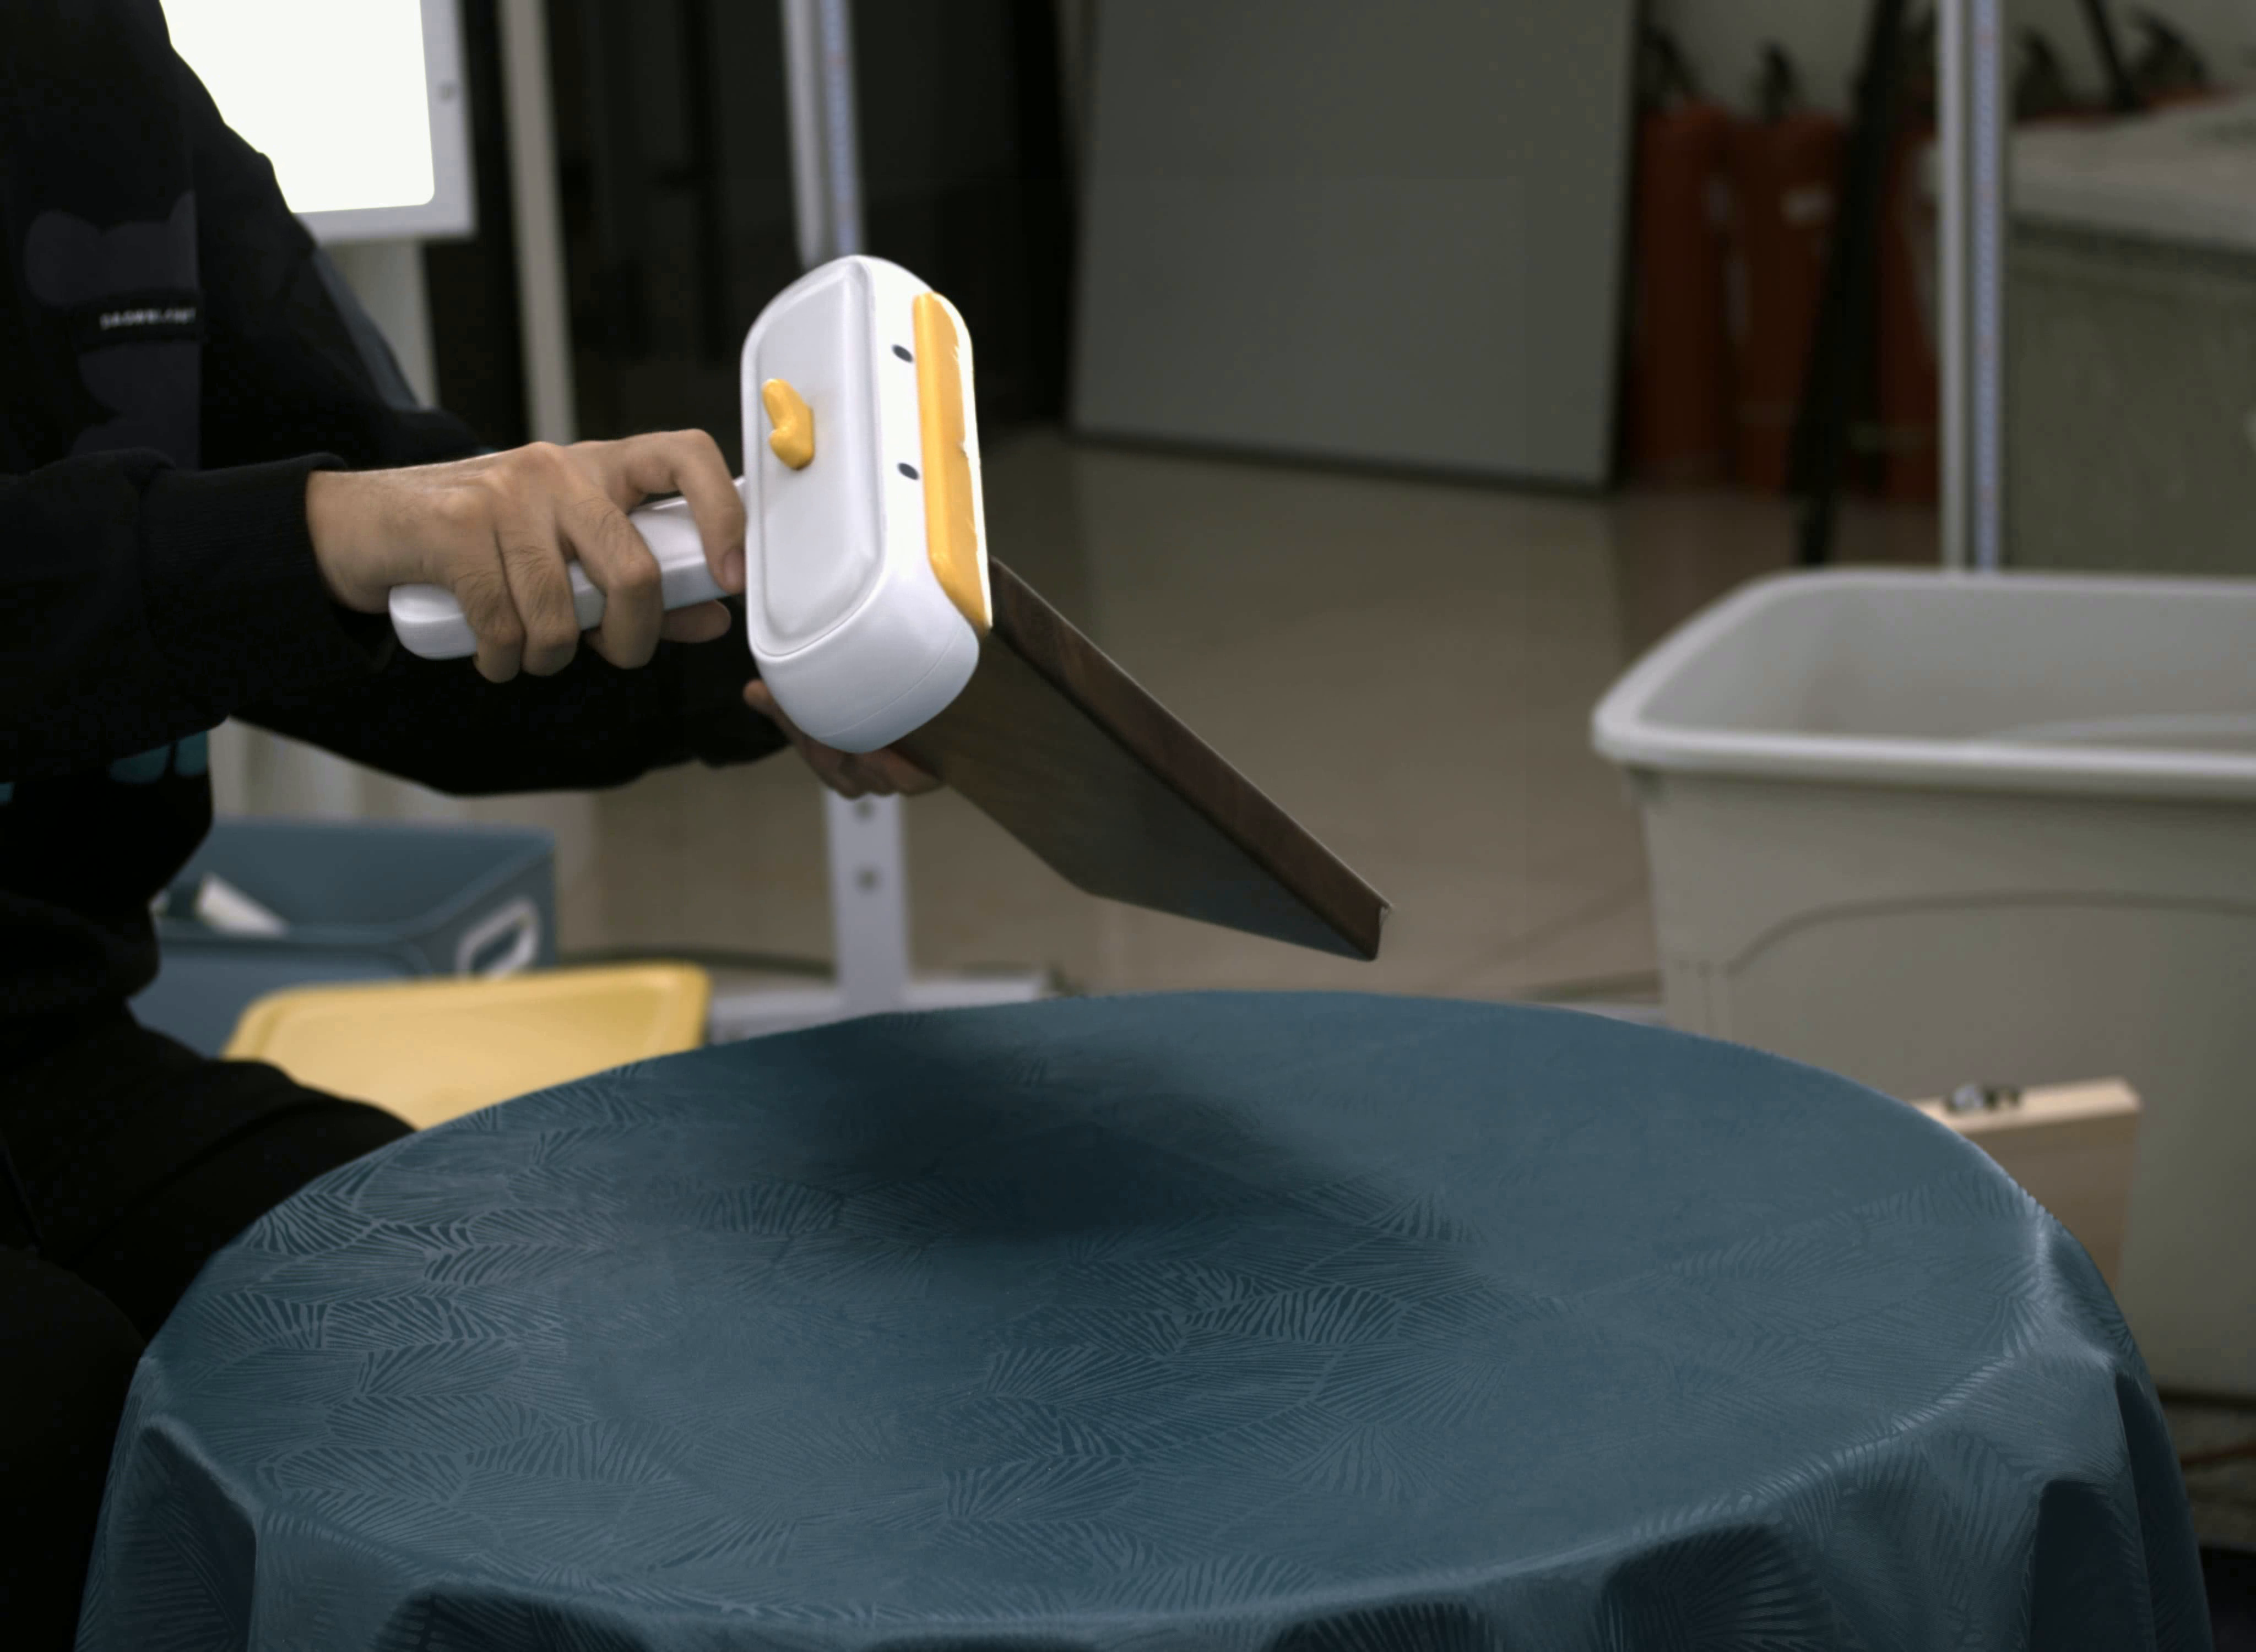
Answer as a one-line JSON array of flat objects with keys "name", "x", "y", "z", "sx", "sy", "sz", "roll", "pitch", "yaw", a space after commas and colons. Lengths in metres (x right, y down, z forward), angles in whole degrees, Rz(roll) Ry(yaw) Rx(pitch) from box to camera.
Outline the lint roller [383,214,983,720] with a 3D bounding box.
[{"name": "lint roller", "x": -0.139, "y": -0.091, "z": 1.685, "sx": 0.192, "sy": 0.073, "sz": 0.195, "roll": -27, "pitch": 45, "yaw": 16}]

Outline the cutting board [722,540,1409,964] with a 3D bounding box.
[{"name": "cutting board", "x": -0.049, "y": -0.034, "z": 1.853, "sx": 0.023, "sy": 0.199, "sz": 0.355, "roll": -53, "pitch": 21, "yaw": -12}]
